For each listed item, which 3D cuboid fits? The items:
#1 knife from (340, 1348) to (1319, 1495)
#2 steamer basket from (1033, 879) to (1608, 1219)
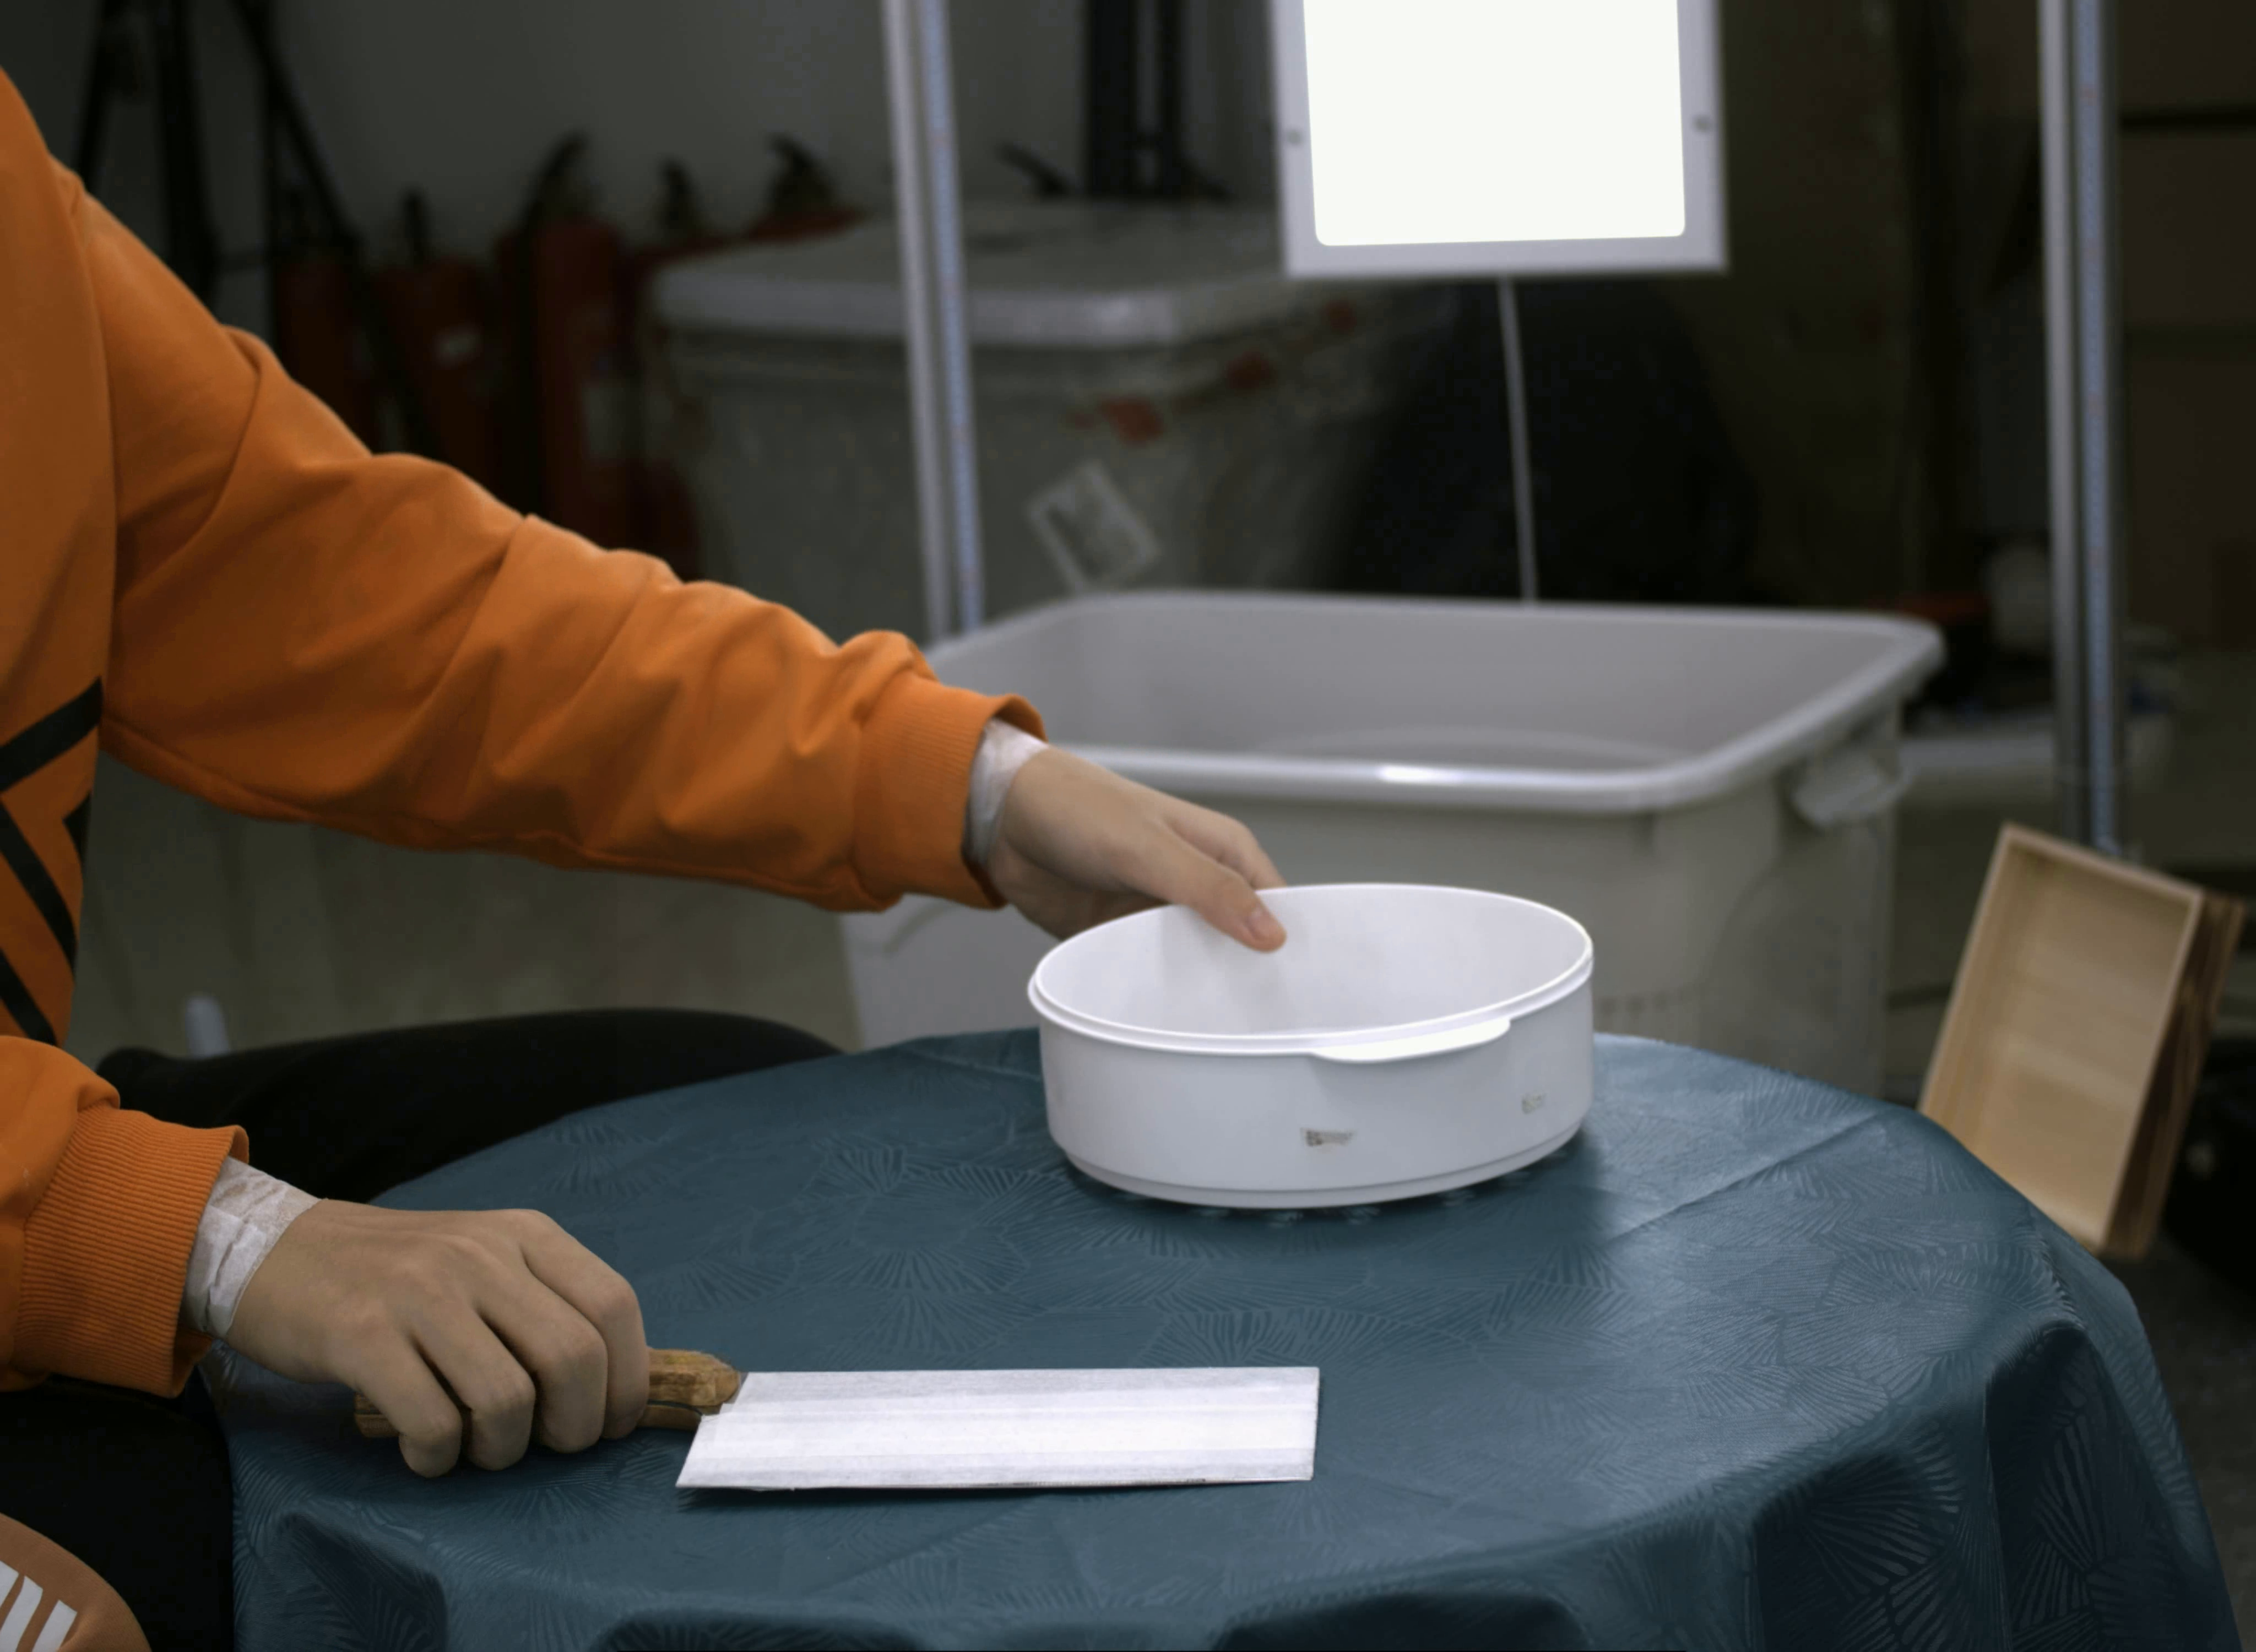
[{"bbox_3d":[-0.094,0.182,1.674,0.306,0.021,0.092,-1,16,6],"label":"knife"},{"bbox_3d":[0.069,0.078,1.923,0.199,0.069,0.233,-9,16,-16],"label":"steamer basket"}]
